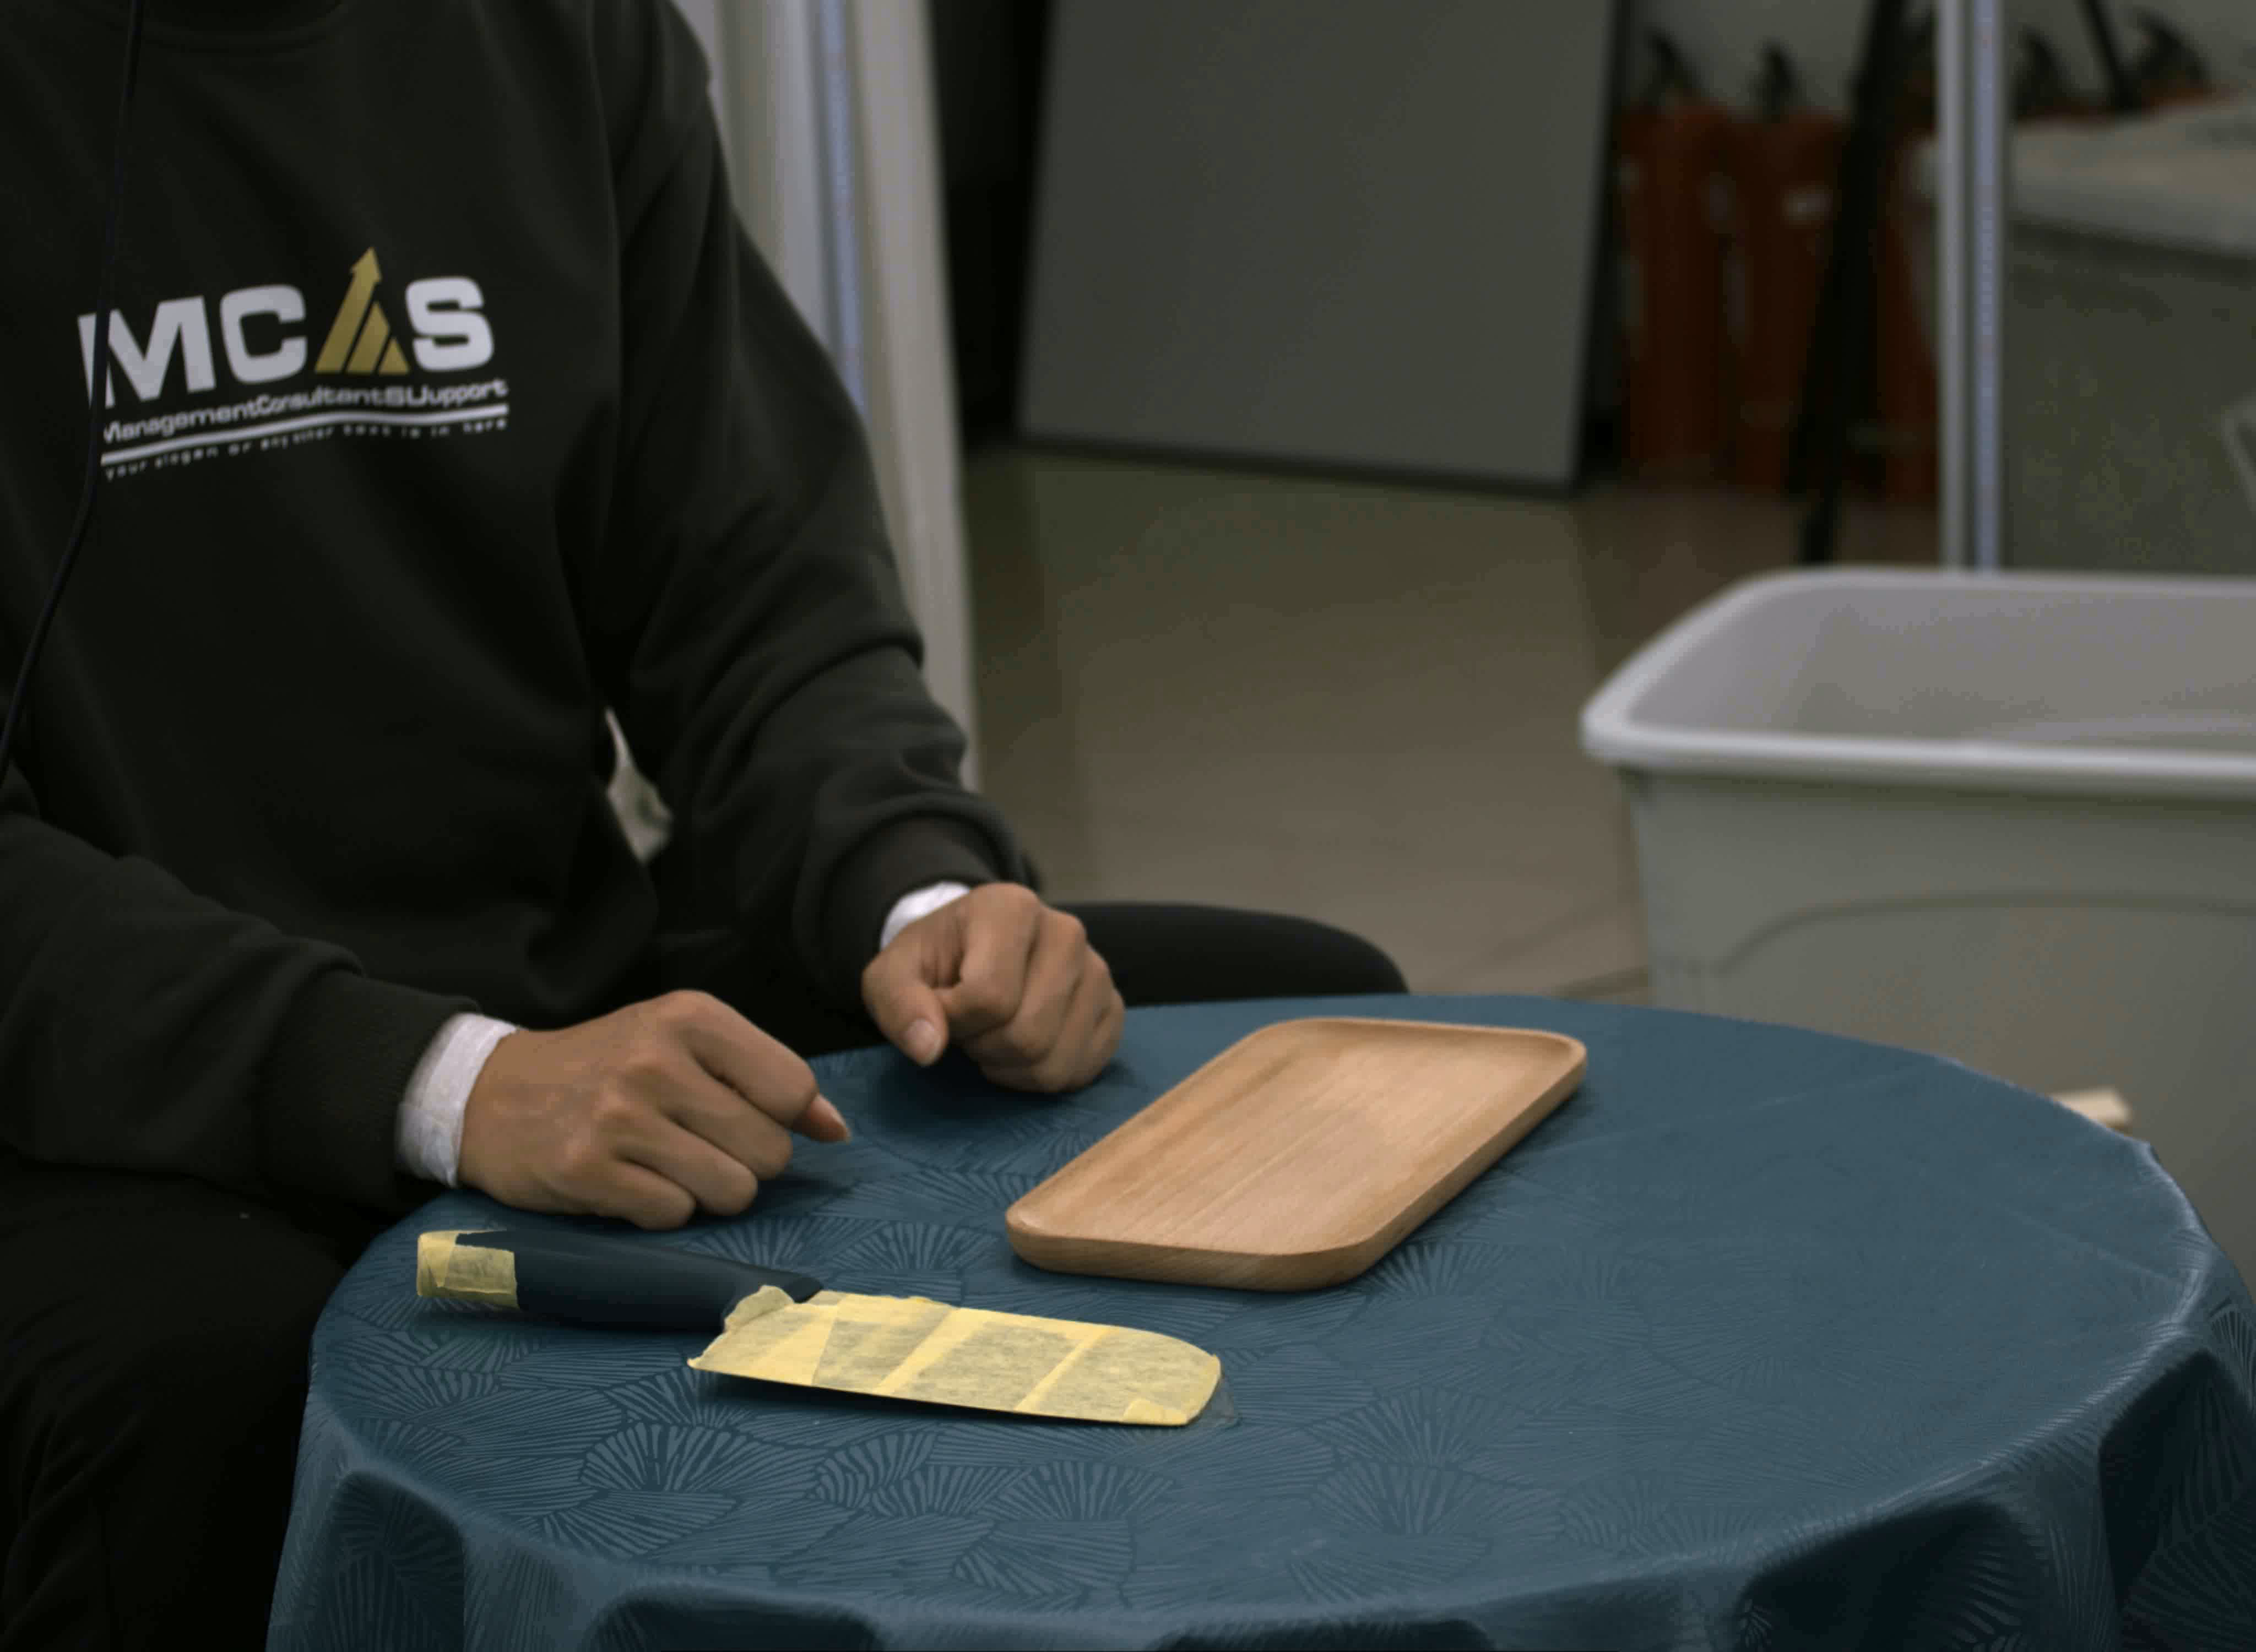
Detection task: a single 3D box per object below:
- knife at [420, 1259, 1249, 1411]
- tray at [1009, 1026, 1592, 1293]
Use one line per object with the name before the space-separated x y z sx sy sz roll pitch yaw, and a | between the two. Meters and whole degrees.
knife | -0.095 0.156 1.629 0.290 0.027 0.080 3 14 25
tray | 0.061 0.108 1.779 0.131 0.023 0.247 -1 14 26
